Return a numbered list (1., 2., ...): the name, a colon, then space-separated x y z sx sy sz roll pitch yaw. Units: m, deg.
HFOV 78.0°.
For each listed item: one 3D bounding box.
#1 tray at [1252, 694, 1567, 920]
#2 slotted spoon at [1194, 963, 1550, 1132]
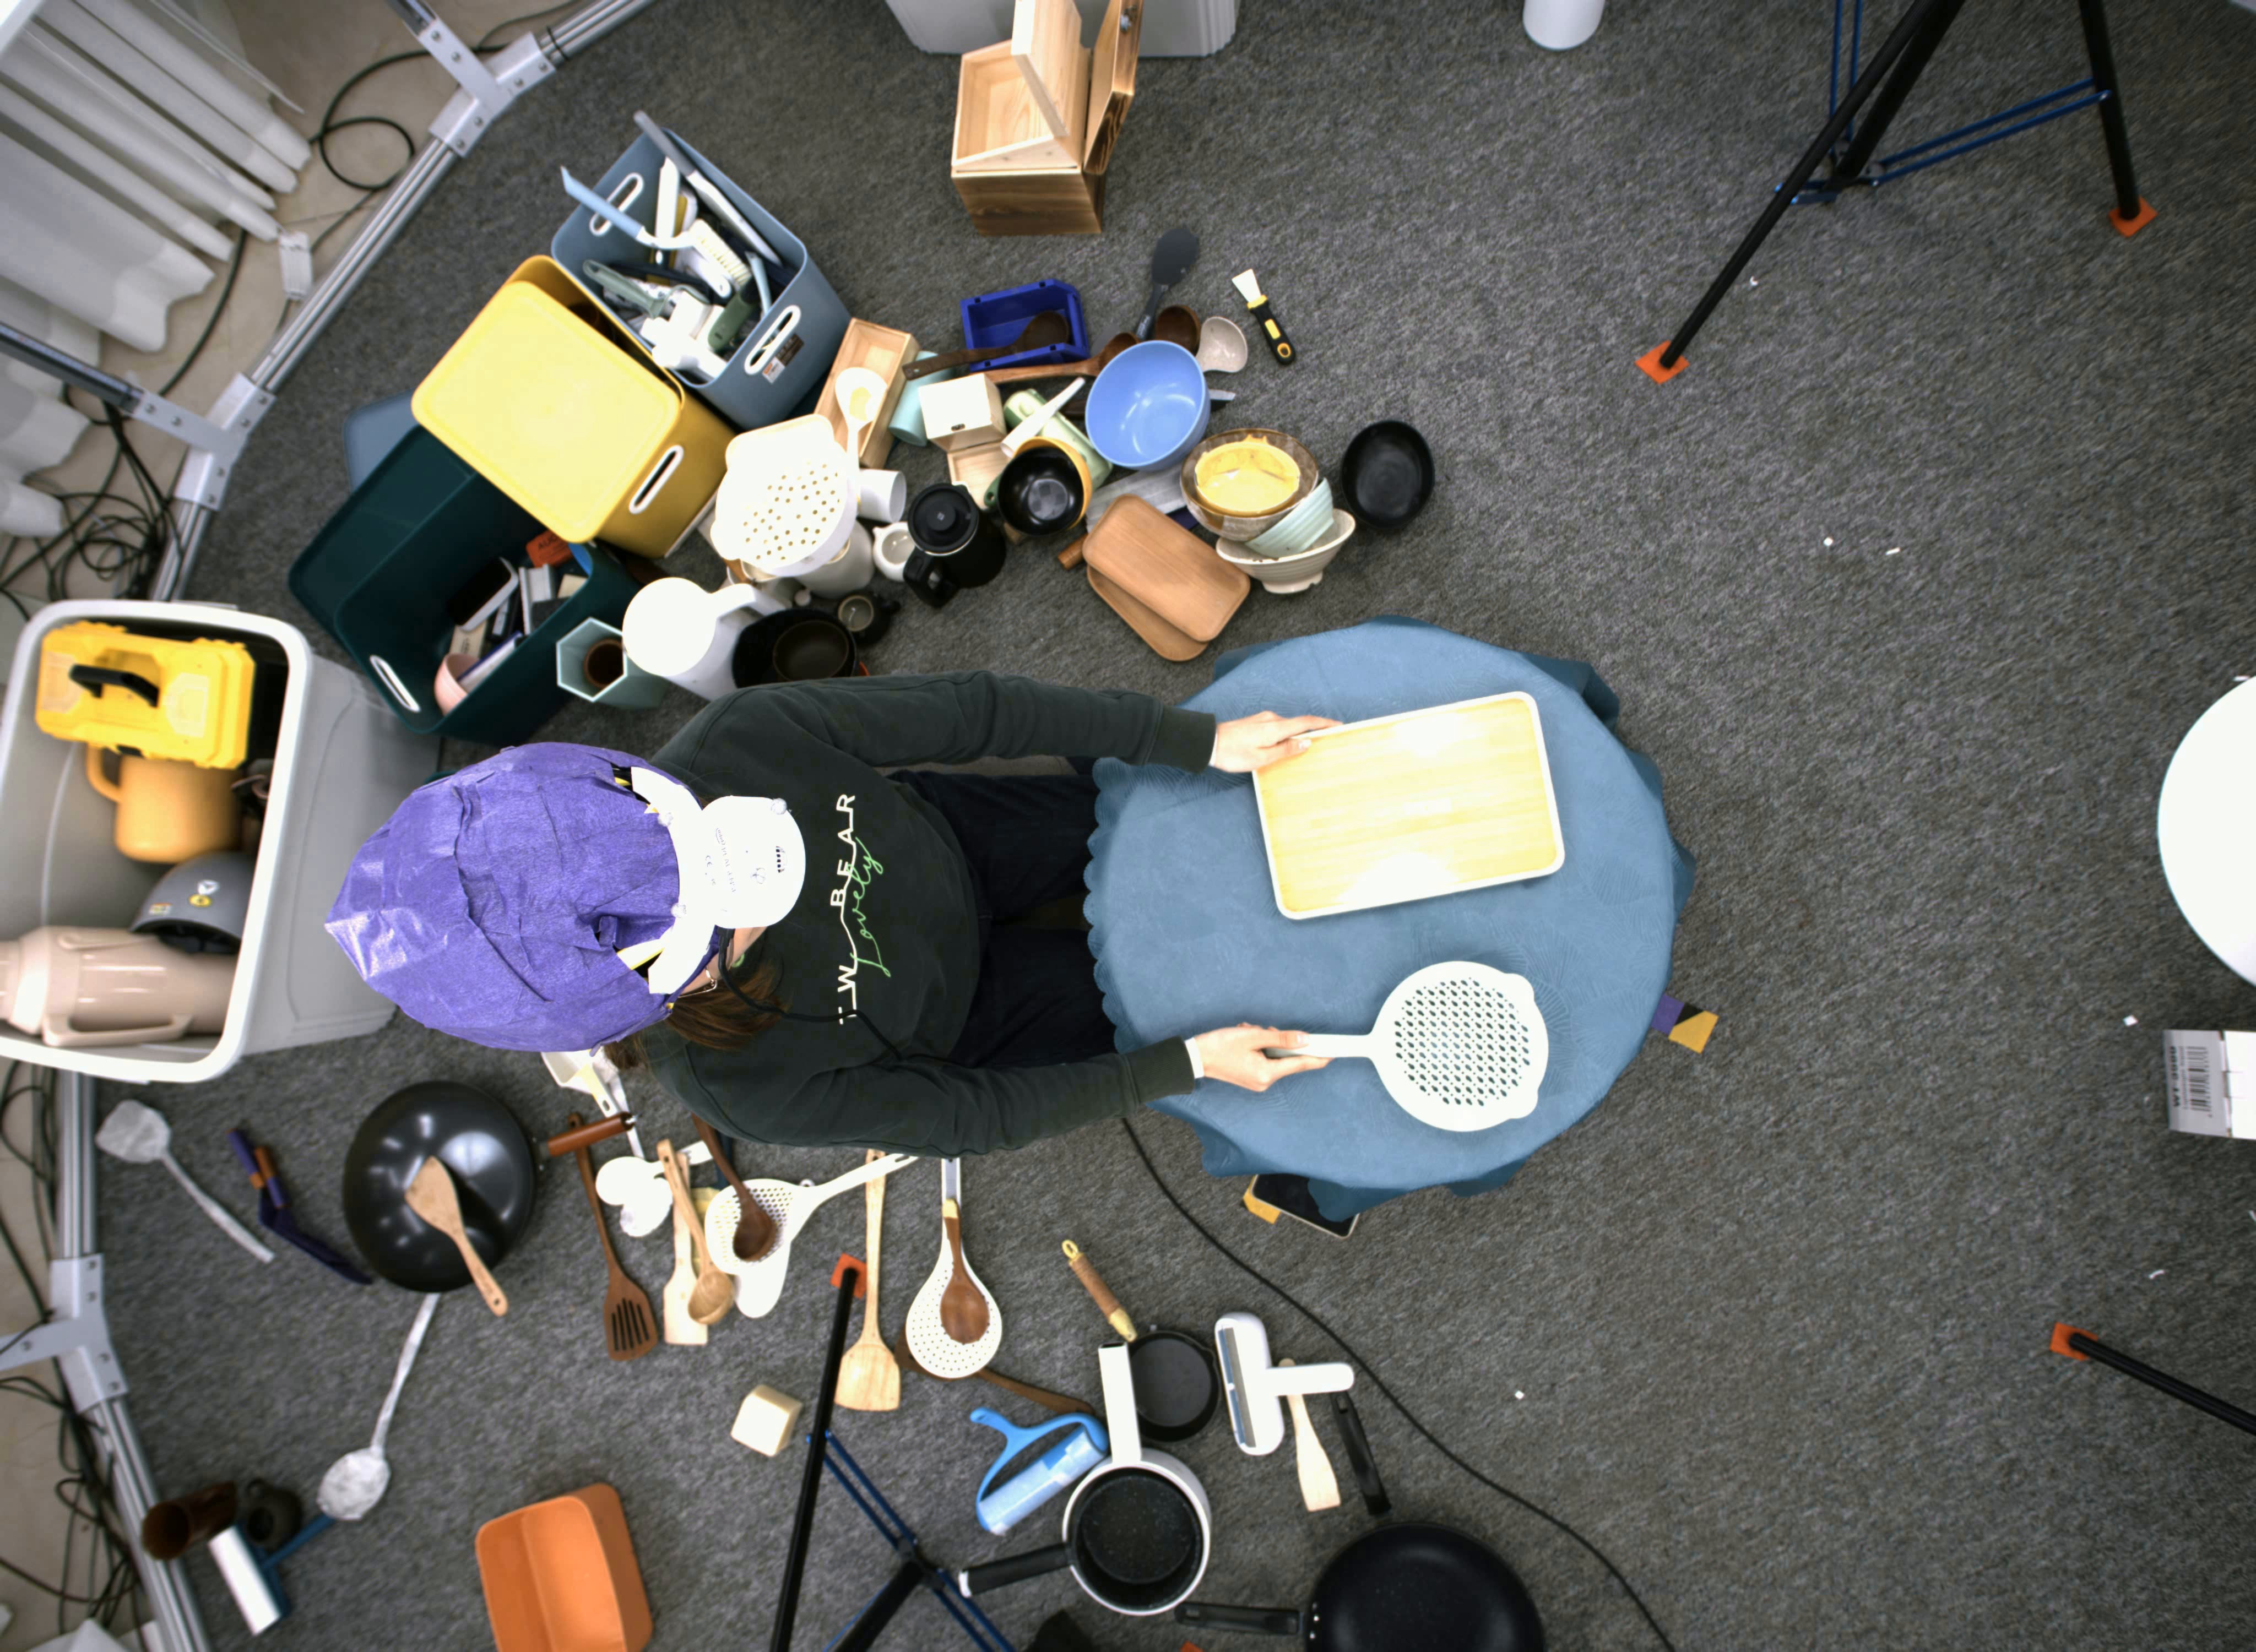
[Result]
1. tray: 0.292 -0.020 1.440 0.302 0.027 0.191 -11 91 9
2. slotted spoon: 0.244 0.225 1.422 0.360 0.075 0.169 -2 89 8
